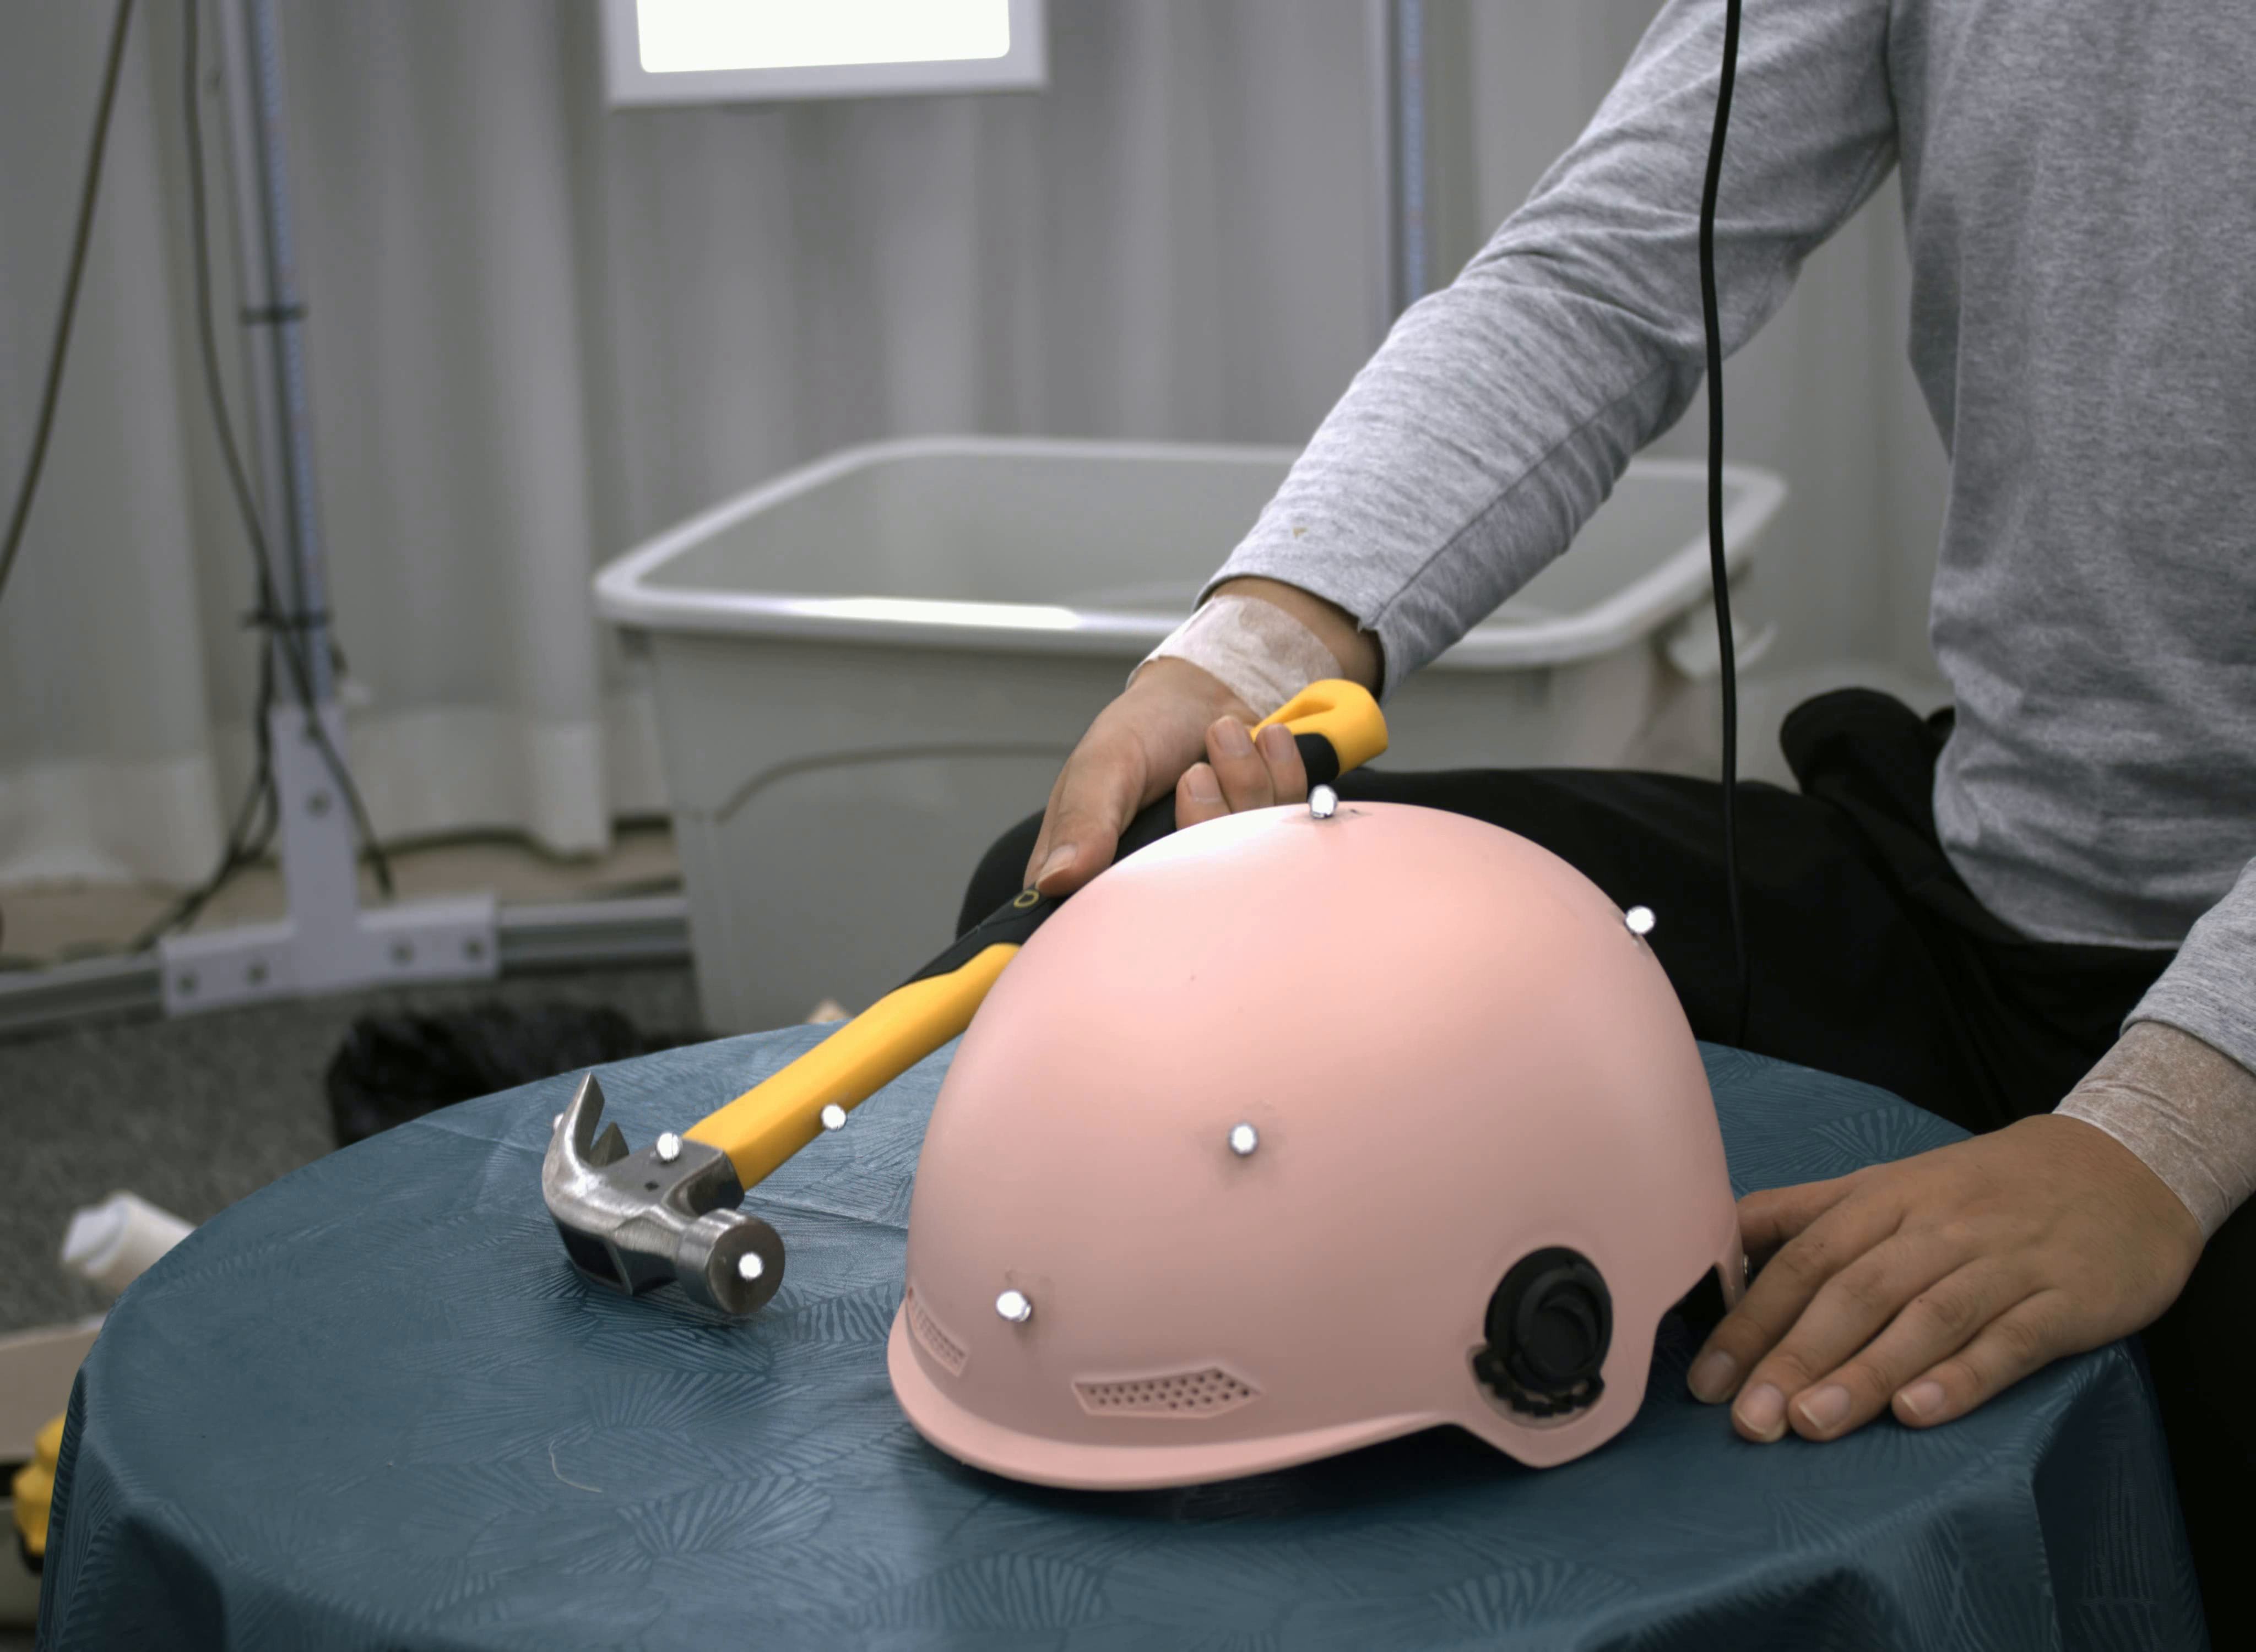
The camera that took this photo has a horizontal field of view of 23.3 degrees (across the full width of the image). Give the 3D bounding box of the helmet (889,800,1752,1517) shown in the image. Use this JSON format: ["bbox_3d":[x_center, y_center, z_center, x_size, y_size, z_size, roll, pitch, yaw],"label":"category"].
[{"bbox_3d":[0.049,0.080,1.545,0.235,0.158,0.266,10,23,41],"label":"helmet"}]

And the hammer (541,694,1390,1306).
[{"bbox_3d":[-0.044,0.045,1.735,0.339,0.032,0.132,-34,26,-31],"label":"hammer"}]
